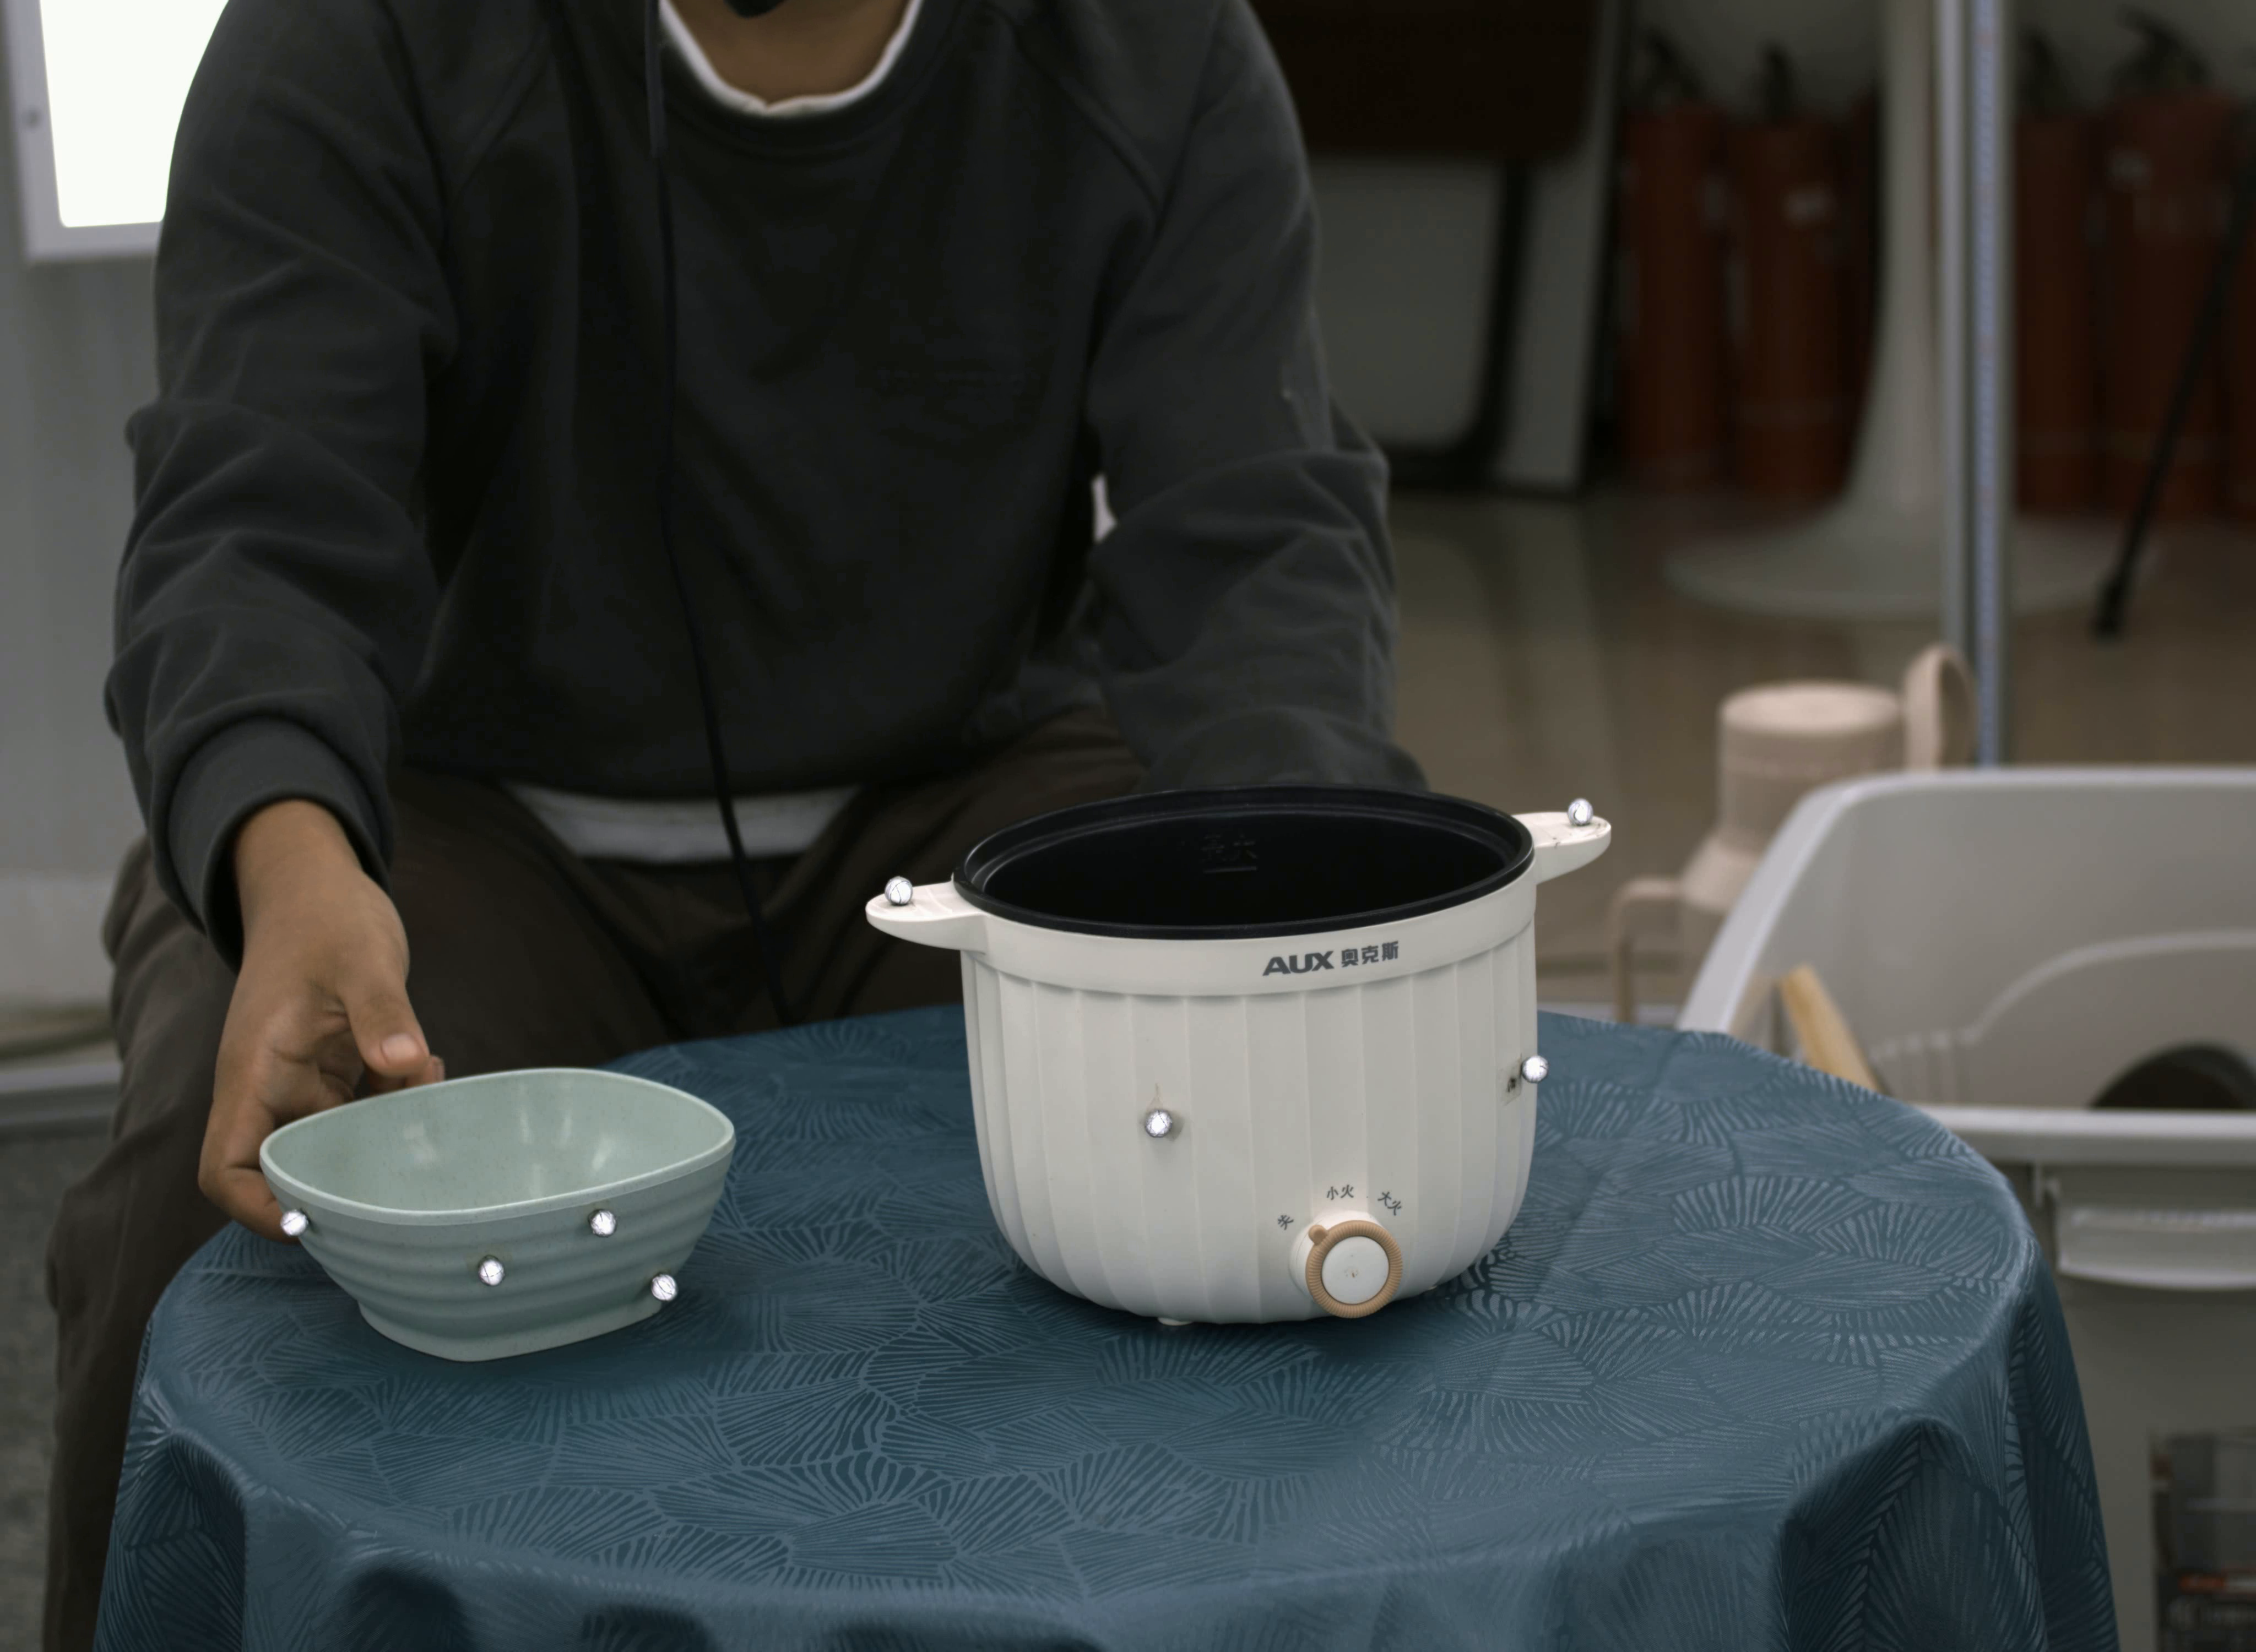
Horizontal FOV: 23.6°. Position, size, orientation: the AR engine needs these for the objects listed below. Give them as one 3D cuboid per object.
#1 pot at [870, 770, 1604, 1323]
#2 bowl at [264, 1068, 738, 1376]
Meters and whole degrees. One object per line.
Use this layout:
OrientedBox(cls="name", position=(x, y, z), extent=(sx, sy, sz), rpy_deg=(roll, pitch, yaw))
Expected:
OrientedBox(cls="pot", position=(0.043, 0.070, 1.672), extent=(0.236, 0.144, 0.192), rpy_deg=(-9, 11, -14))
OrientedBox(cls="bowl", position=(-0.193, 0.127, 1.689), extent=(0.149, 0.059, 0.152), rpy_deg=(-3, 15, 0))
